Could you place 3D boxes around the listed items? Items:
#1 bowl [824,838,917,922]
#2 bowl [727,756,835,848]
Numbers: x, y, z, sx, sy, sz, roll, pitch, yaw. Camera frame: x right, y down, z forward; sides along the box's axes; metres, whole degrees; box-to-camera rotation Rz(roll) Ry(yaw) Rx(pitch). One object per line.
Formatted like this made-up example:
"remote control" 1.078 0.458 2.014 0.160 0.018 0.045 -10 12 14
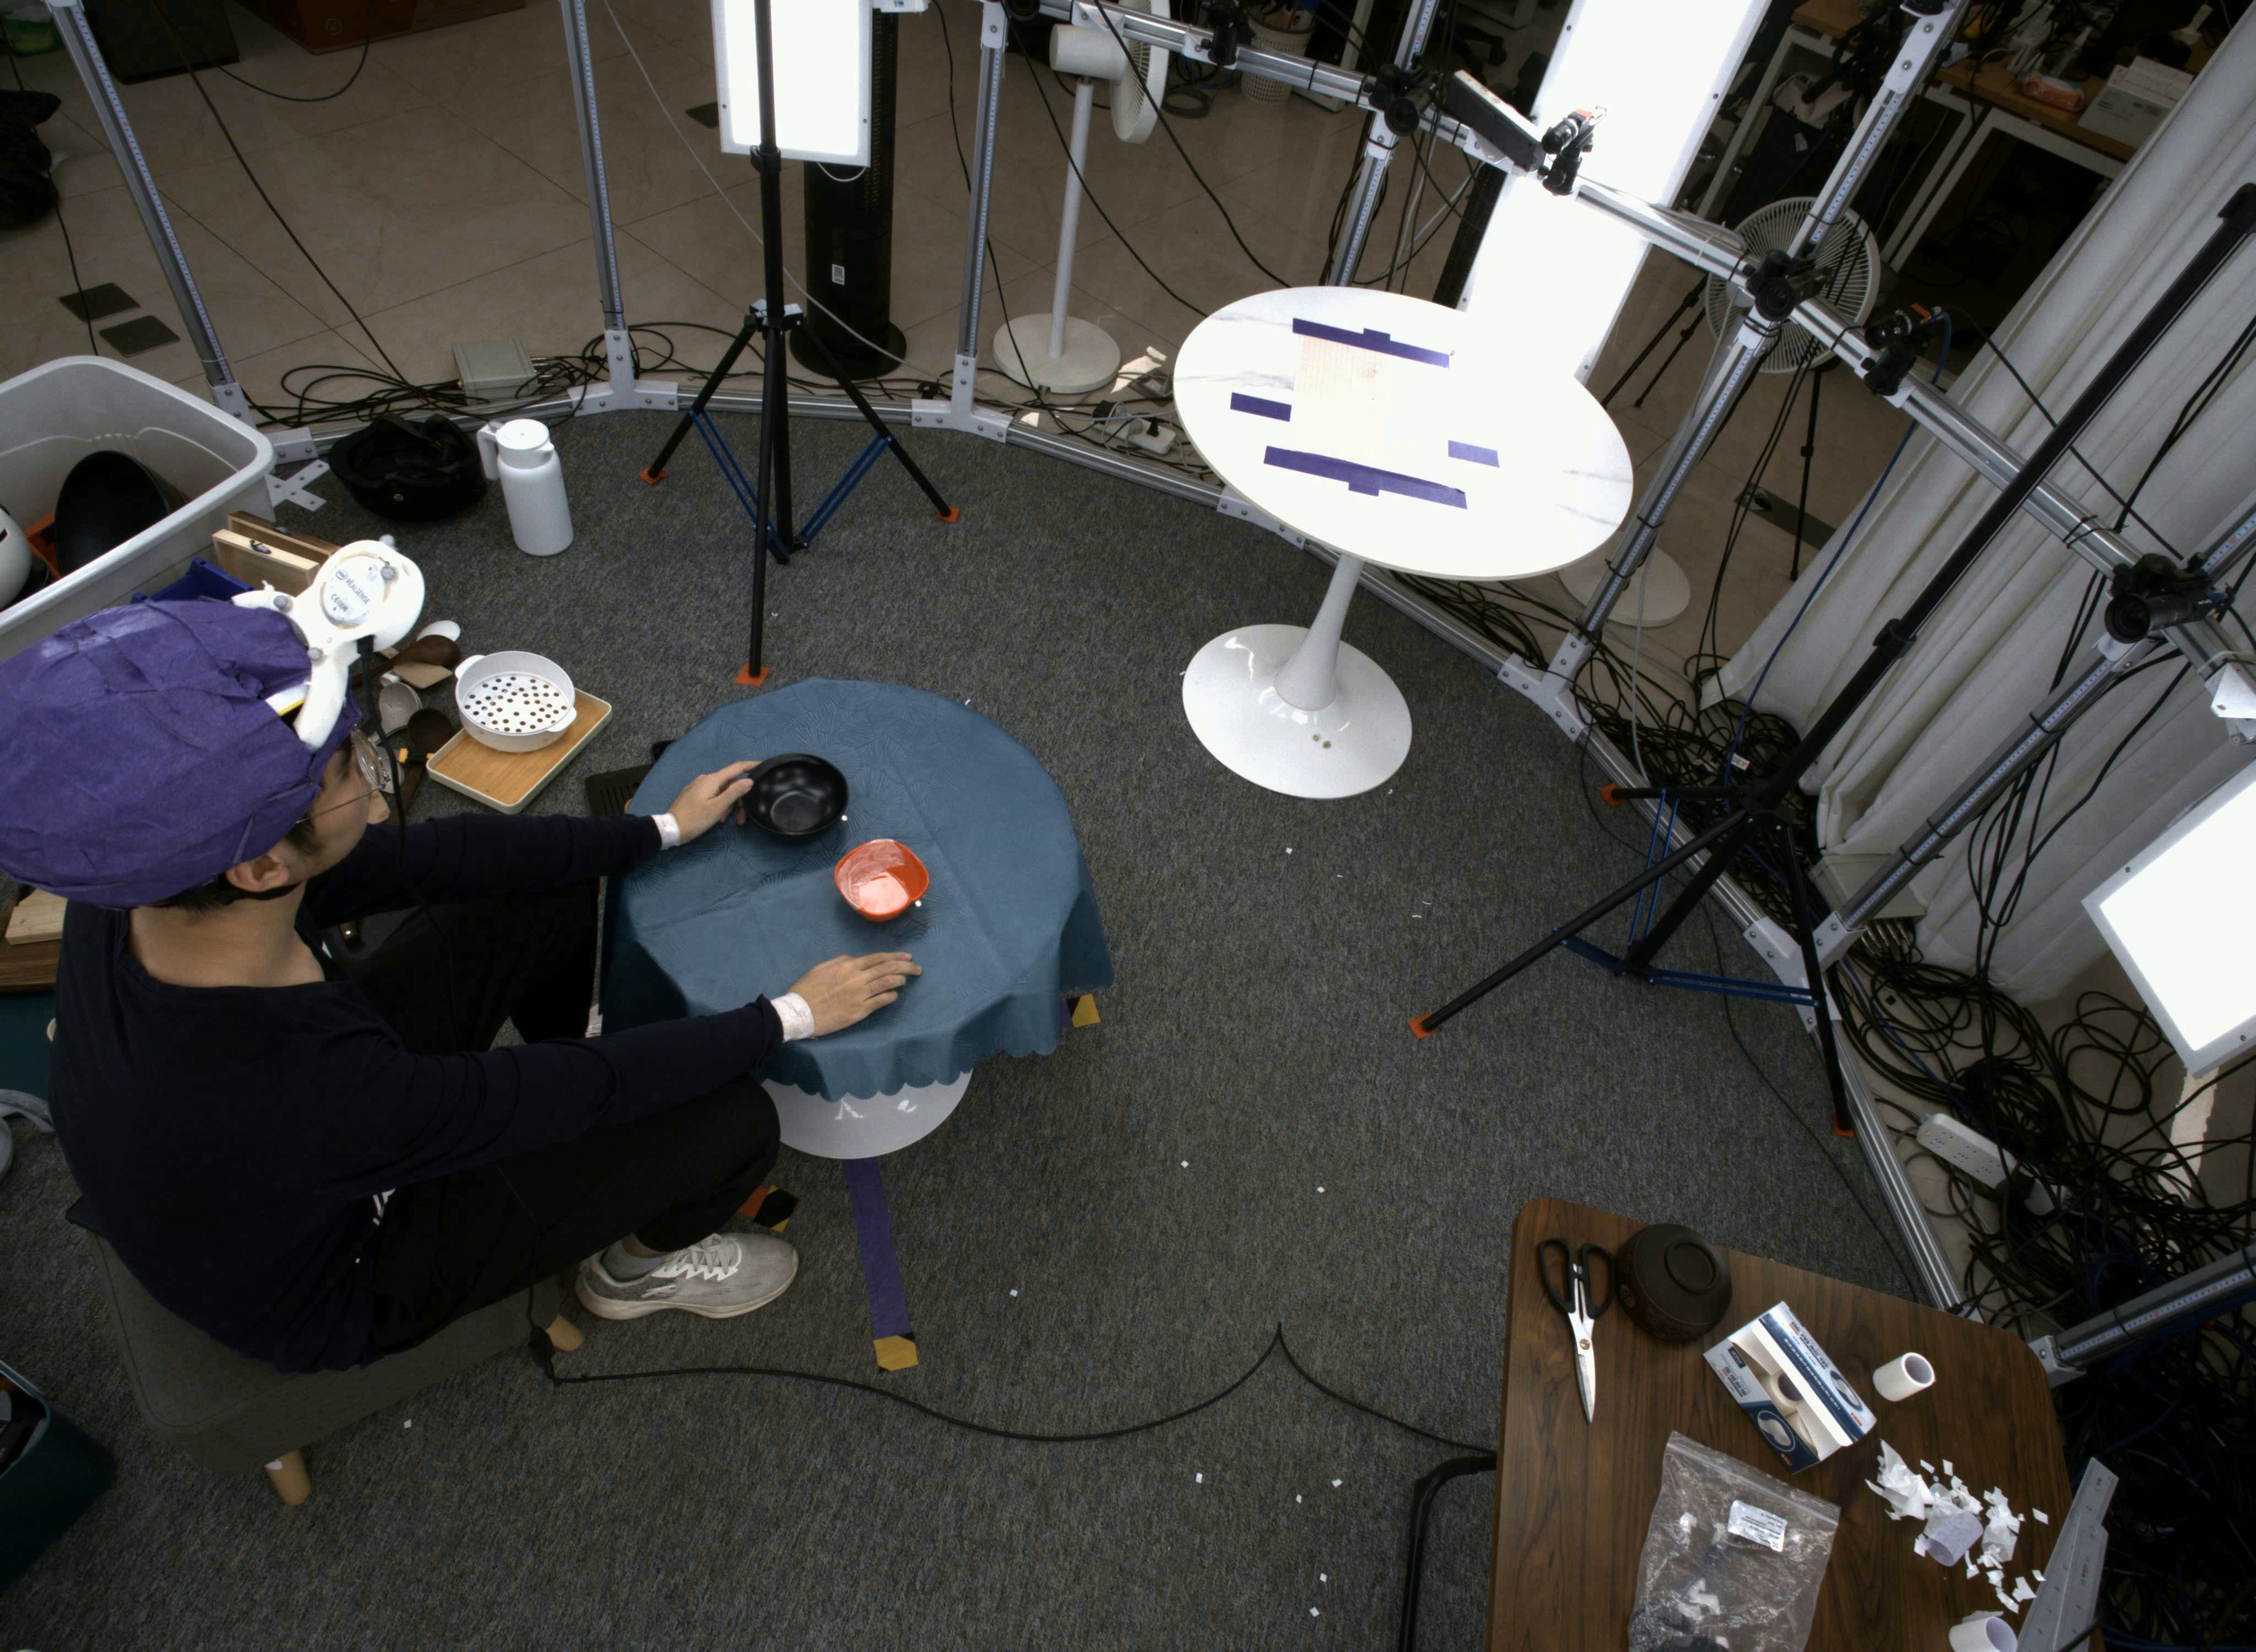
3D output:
"bowl" -0.332 0.076 1.662 0.119 0.052 0.117 12 53 -15
"bowl" -0.458 -0.025 1.716 0.139 0.051 0.138 6 56 -7
